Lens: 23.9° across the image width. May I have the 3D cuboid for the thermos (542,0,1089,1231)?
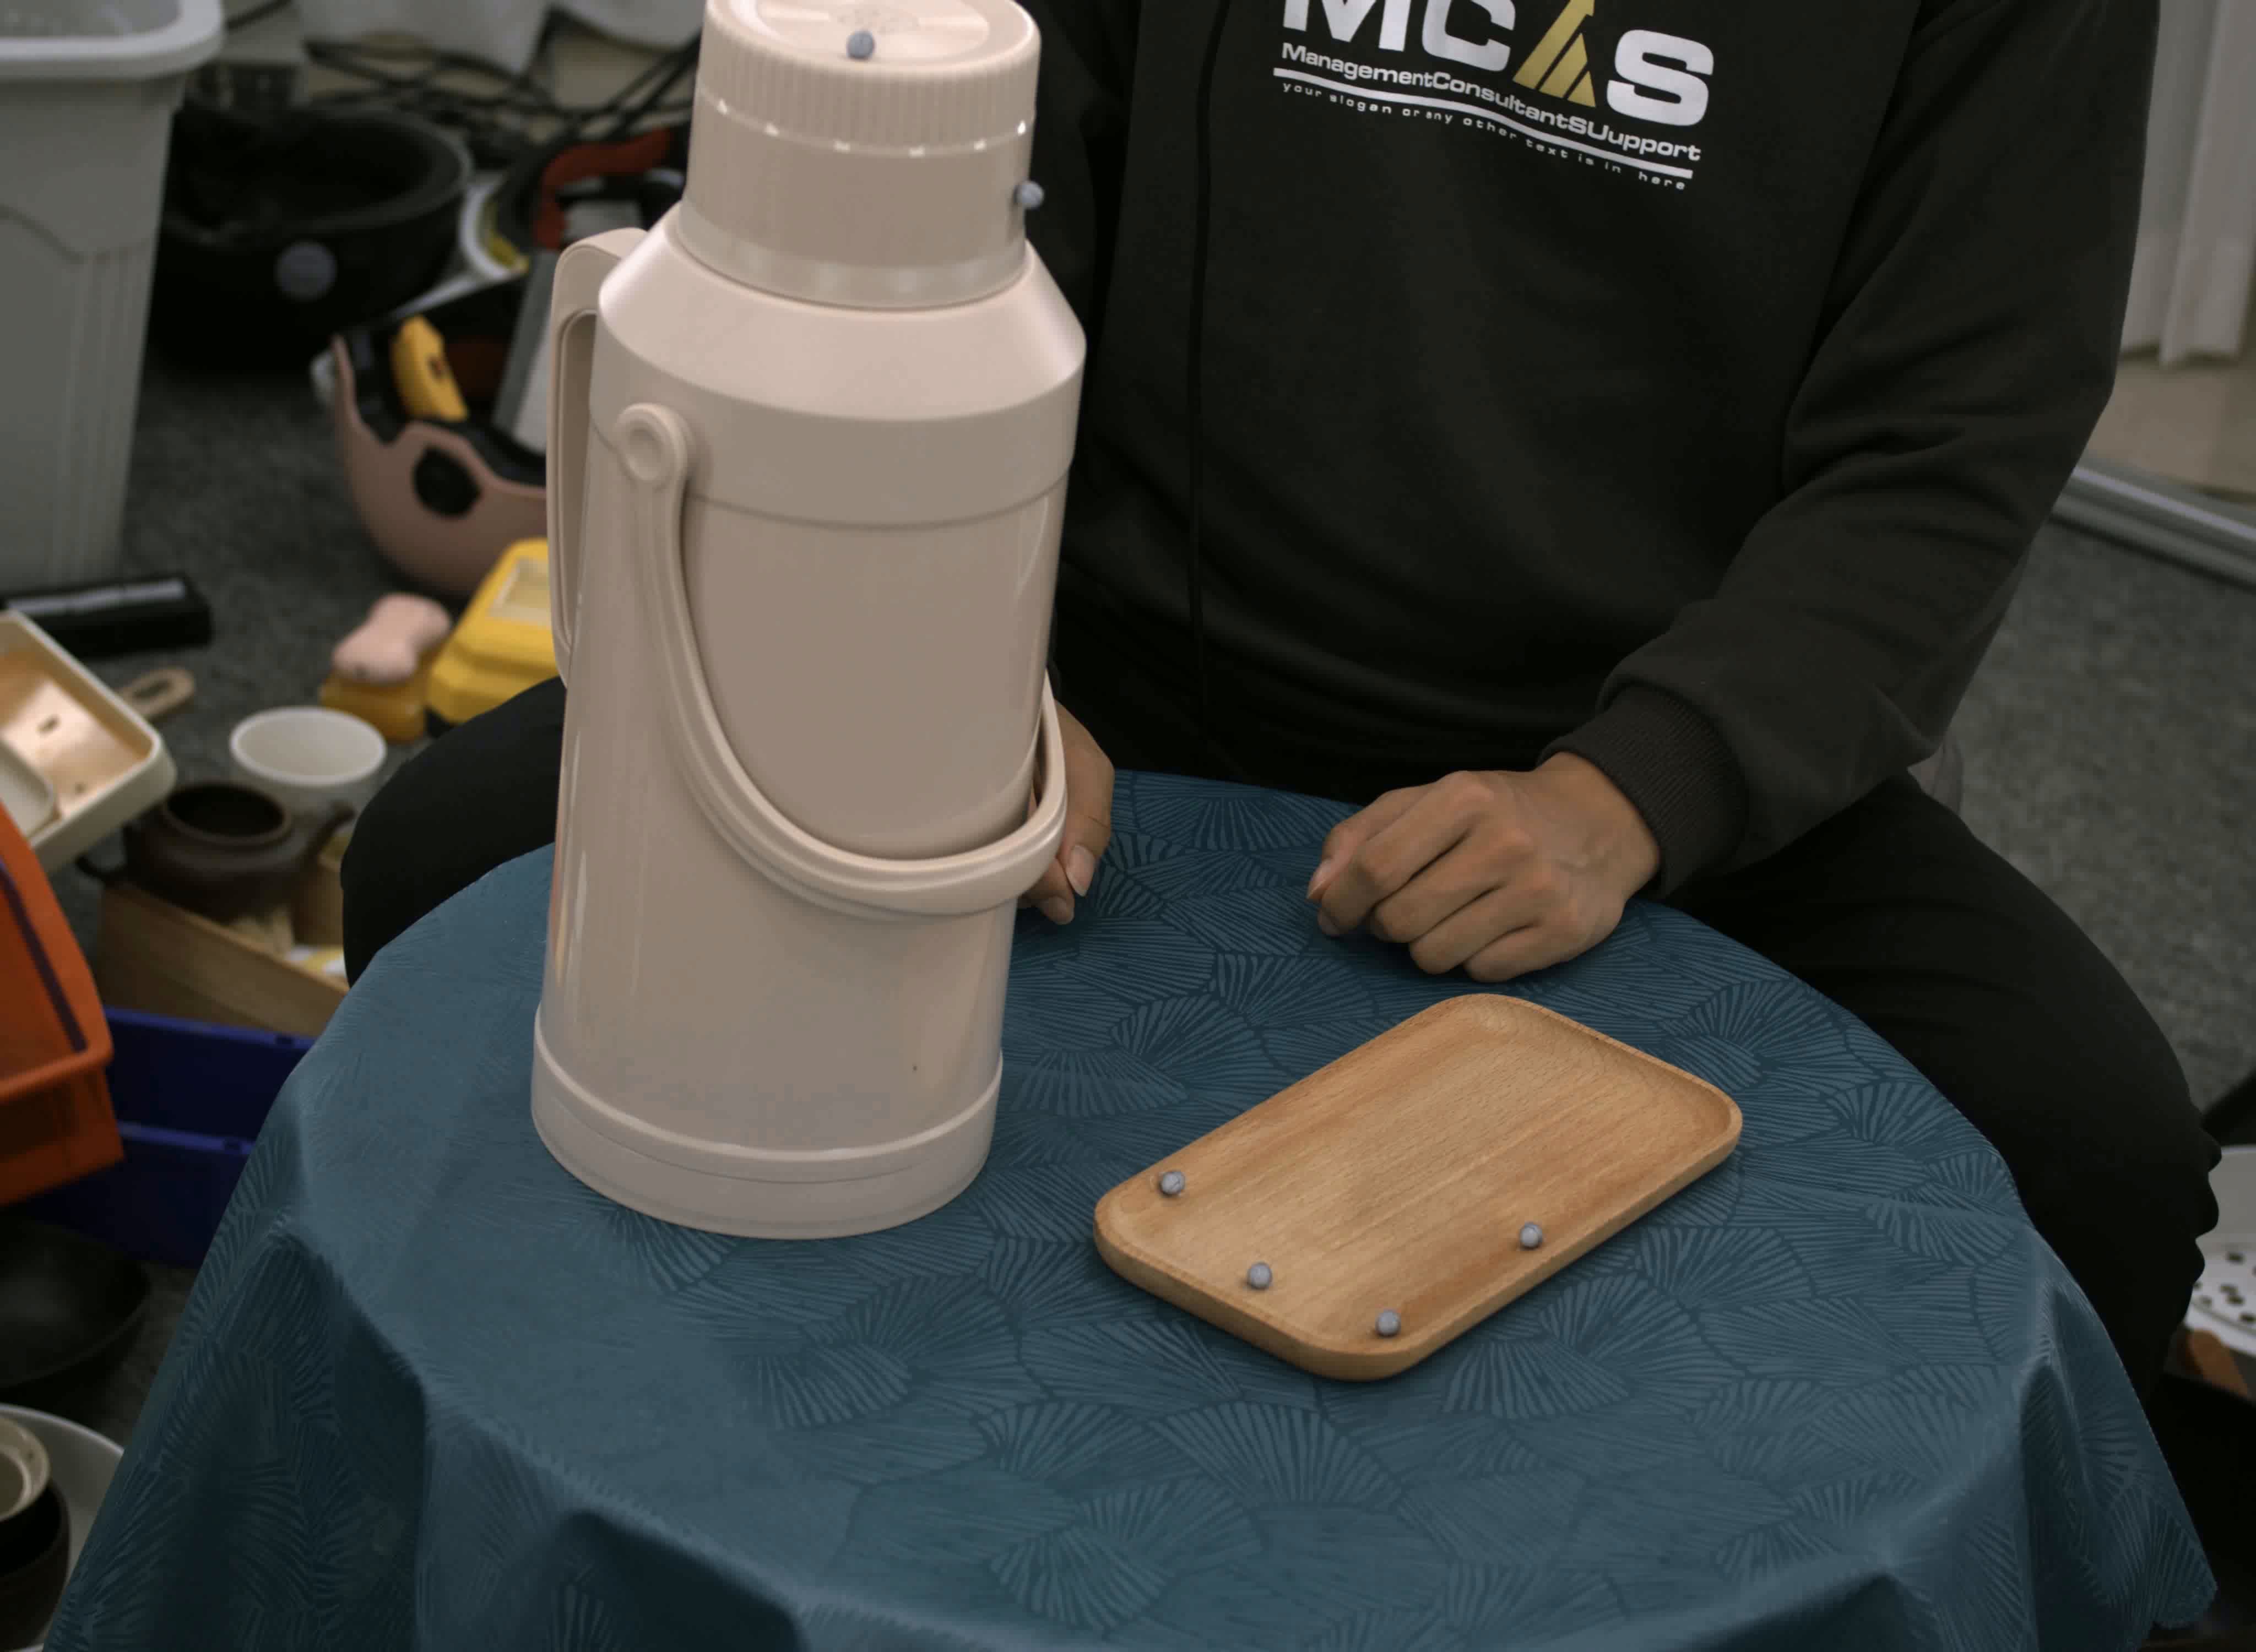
[{"bbox_3d":[-0.110,-0.082,1.747,0.208,0.405,0.174,26,33,32],"label":"thermos"}]

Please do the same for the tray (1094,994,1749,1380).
[{"bbox_3d":[0.103,0.121,1.819,0.131,0.023,0.250,27,32,30],"label":"tray"}]
